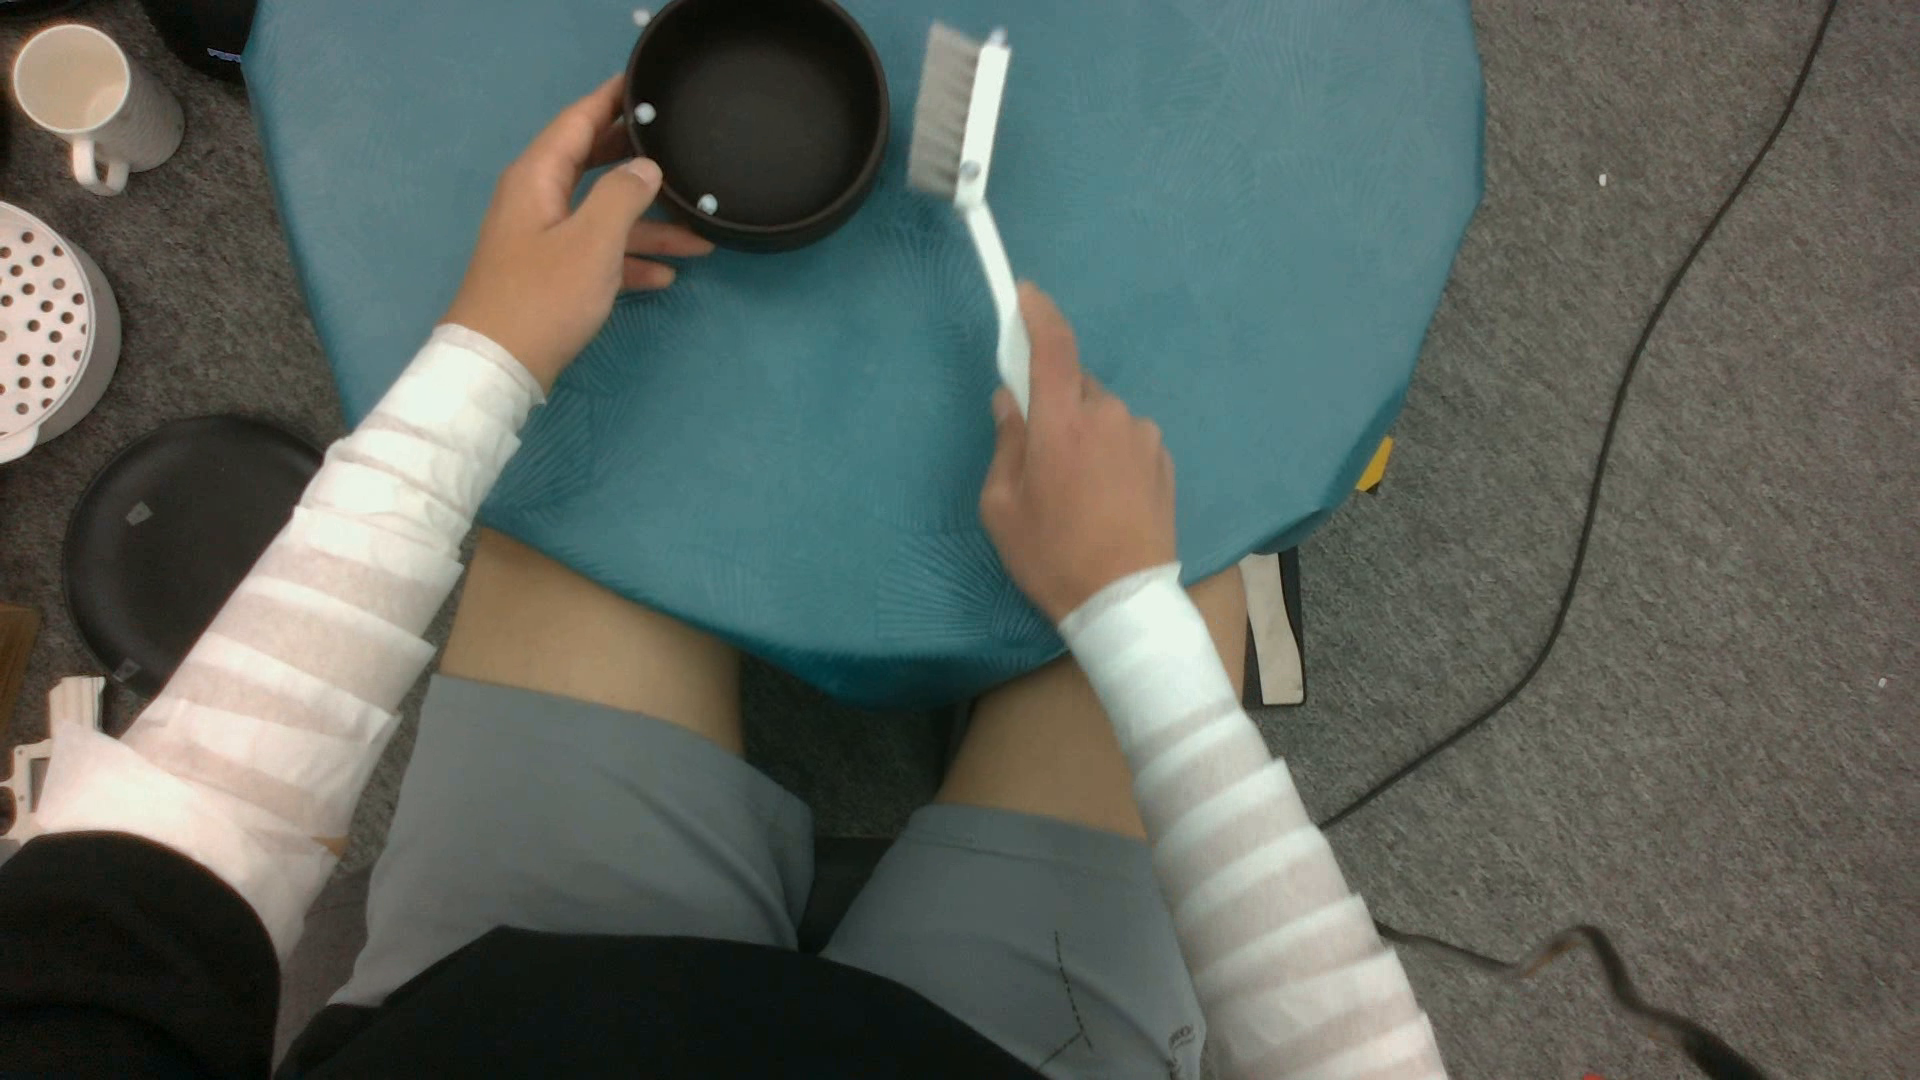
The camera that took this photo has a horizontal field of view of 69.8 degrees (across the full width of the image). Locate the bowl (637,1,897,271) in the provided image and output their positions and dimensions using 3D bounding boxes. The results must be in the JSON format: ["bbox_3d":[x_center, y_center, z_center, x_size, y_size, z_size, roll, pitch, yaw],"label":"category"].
[{"bbox_3d":[-0.090,-0.183,0.648,0.118,0.070,0.118,0,88,-7],"label":"bowl"}]

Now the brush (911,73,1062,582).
[{"bbox_3d":[0.011,-0.097,0.654,0.050,0.034,0.243,-8,98,3],"label":"brush"}]
